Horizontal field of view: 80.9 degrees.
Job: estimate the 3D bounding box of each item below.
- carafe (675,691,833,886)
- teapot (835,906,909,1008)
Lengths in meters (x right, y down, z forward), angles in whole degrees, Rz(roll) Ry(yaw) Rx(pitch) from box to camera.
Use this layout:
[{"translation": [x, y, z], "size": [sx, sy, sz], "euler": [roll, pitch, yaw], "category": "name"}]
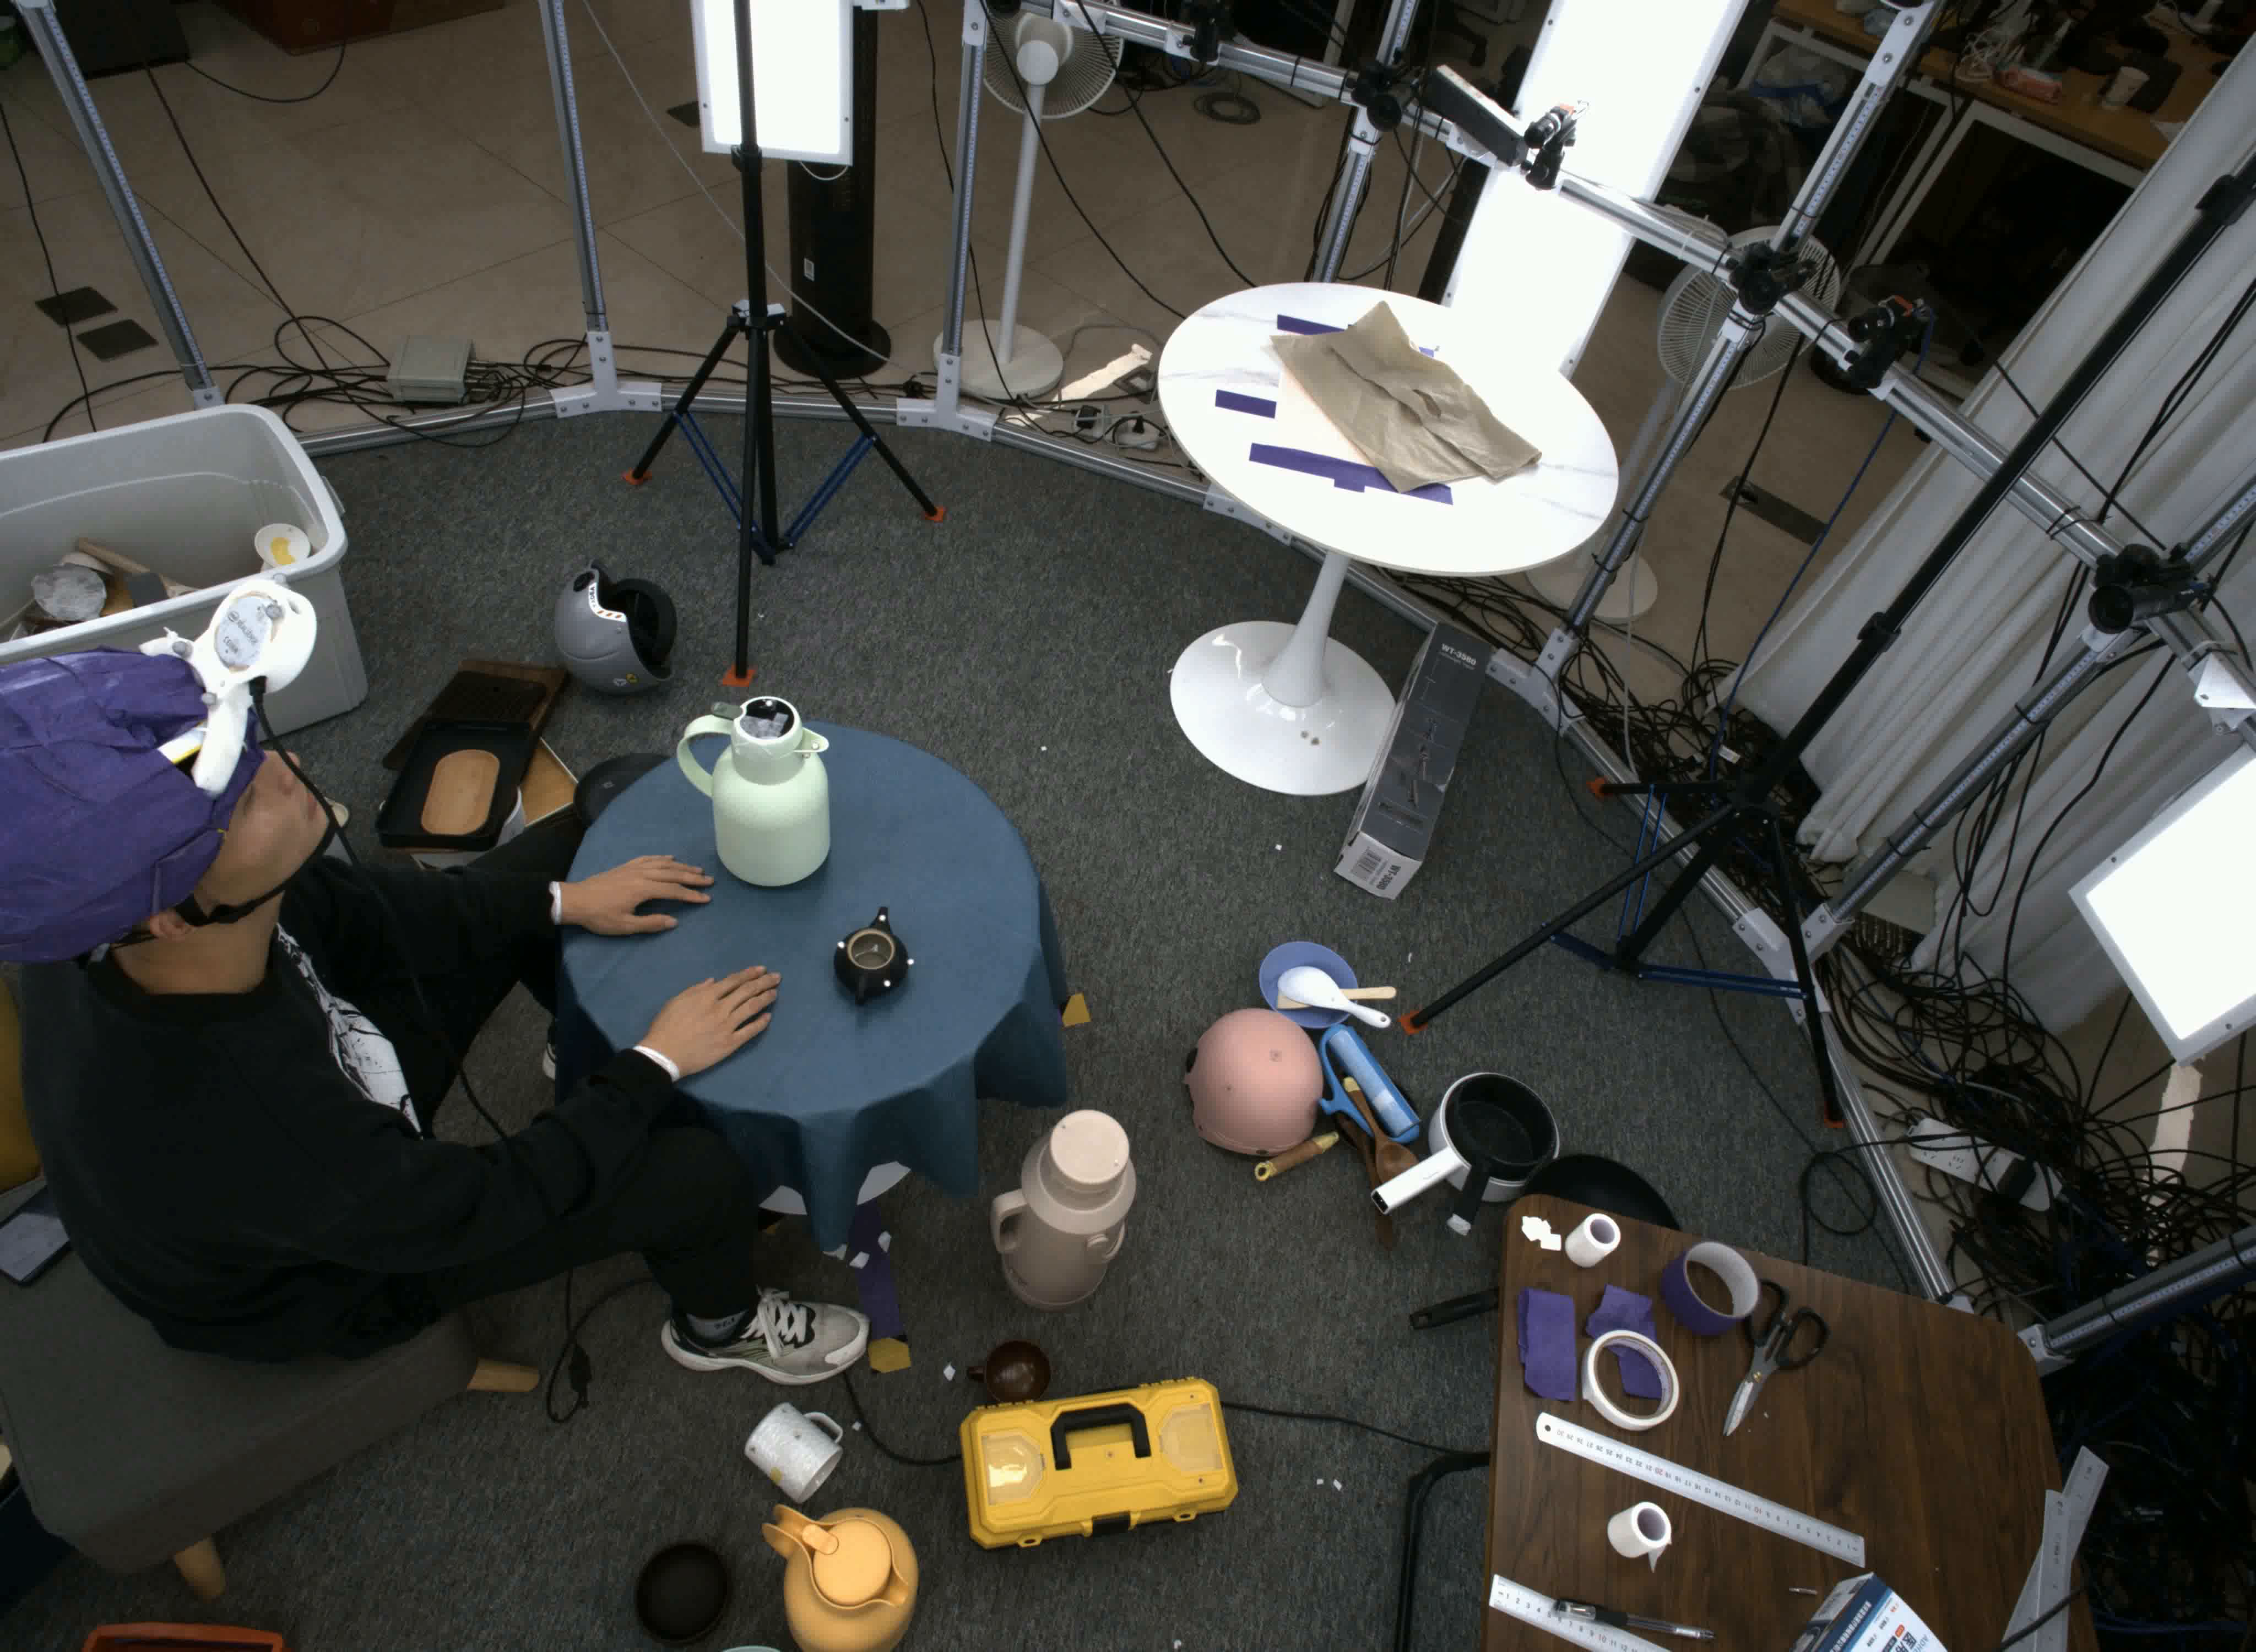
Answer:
[{"translation": [-0.456, -0.055, 1.593], "size": [0.185, 0.263, 0.142], "euler": [9, 53, -1], "category": "carafe"}, {"translation": [-0.314, 0.163, 1.593], "size": [0.090, 0.054, 0.131], "euler": [10, 52, -3], "category": "teapot"}]
